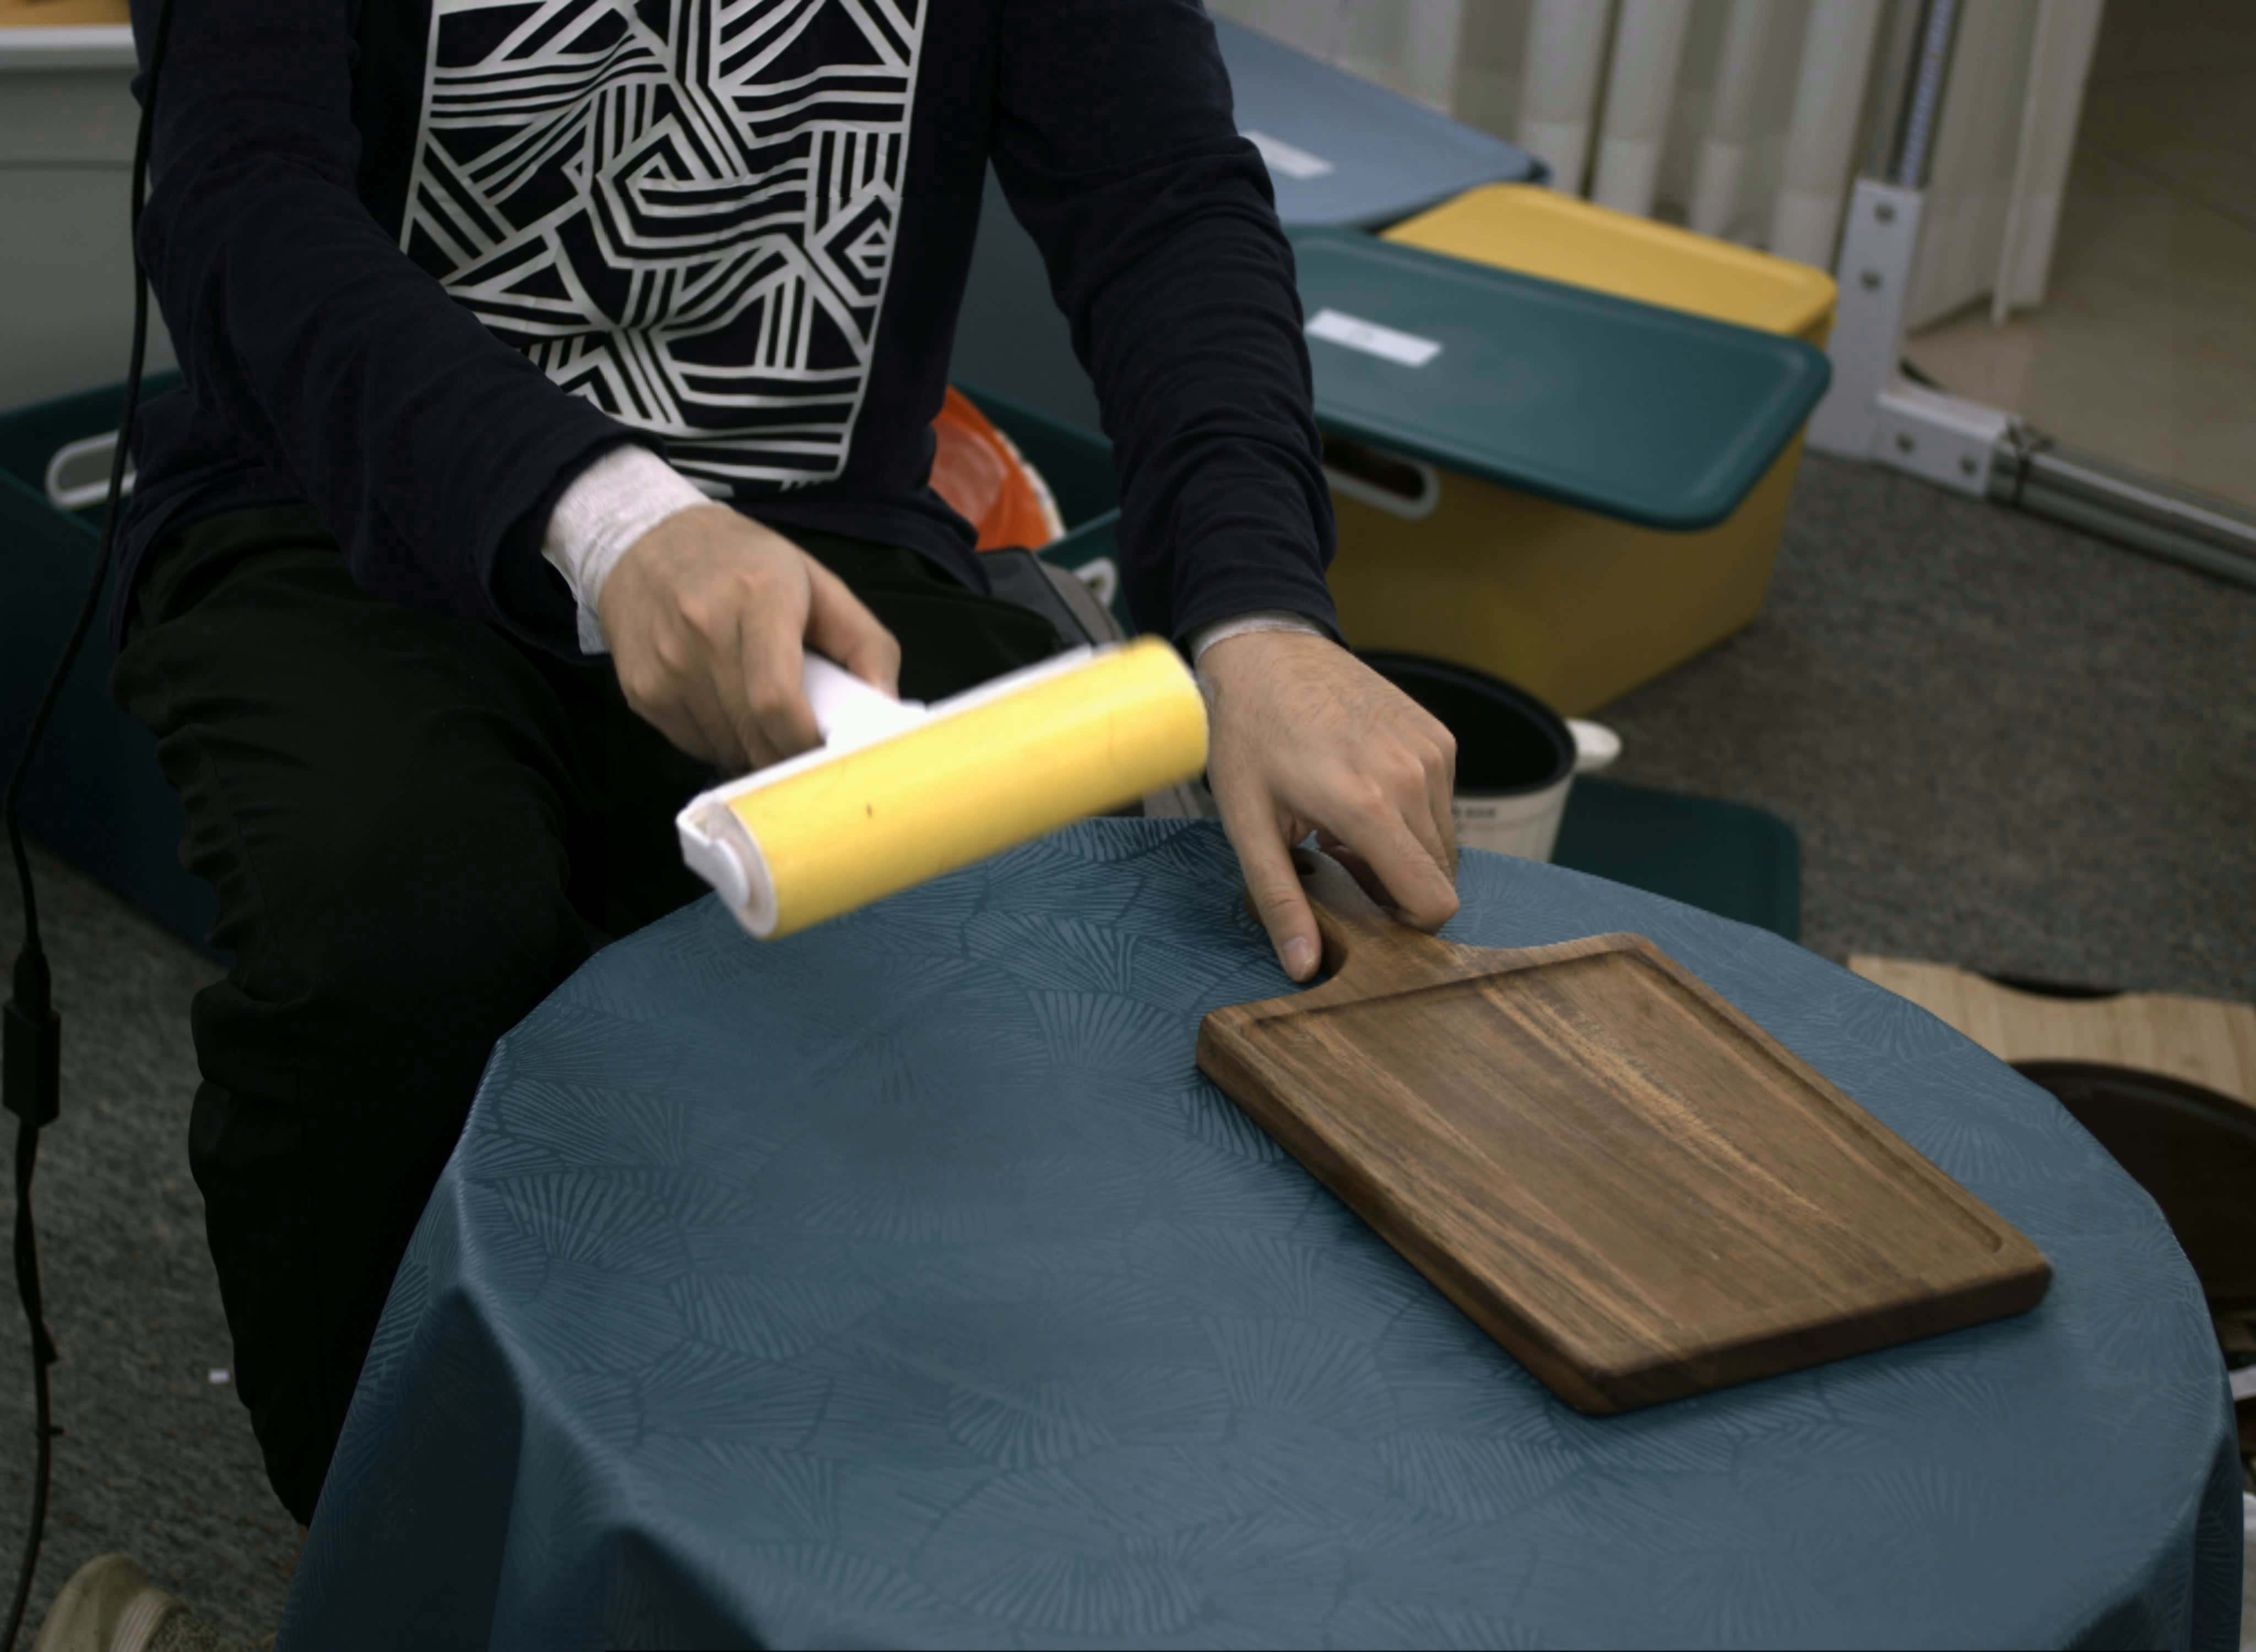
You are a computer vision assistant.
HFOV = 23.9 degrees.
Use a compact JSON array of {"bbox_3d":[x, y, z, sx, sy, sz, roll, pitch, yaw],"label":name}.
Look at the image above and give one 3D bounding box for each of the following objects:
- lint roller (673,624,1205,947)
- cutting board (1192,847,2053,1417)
[{"bbox_3d":[-0.094,-0.038,1.754,0.173,0.051,0.194,-20,38,-26],"label":"lint roller"},{"bbox_3d":[0.142,0.093,1.876,0.200,0.023,0.355,-10,31,-30],"label":"cutting board"}]
